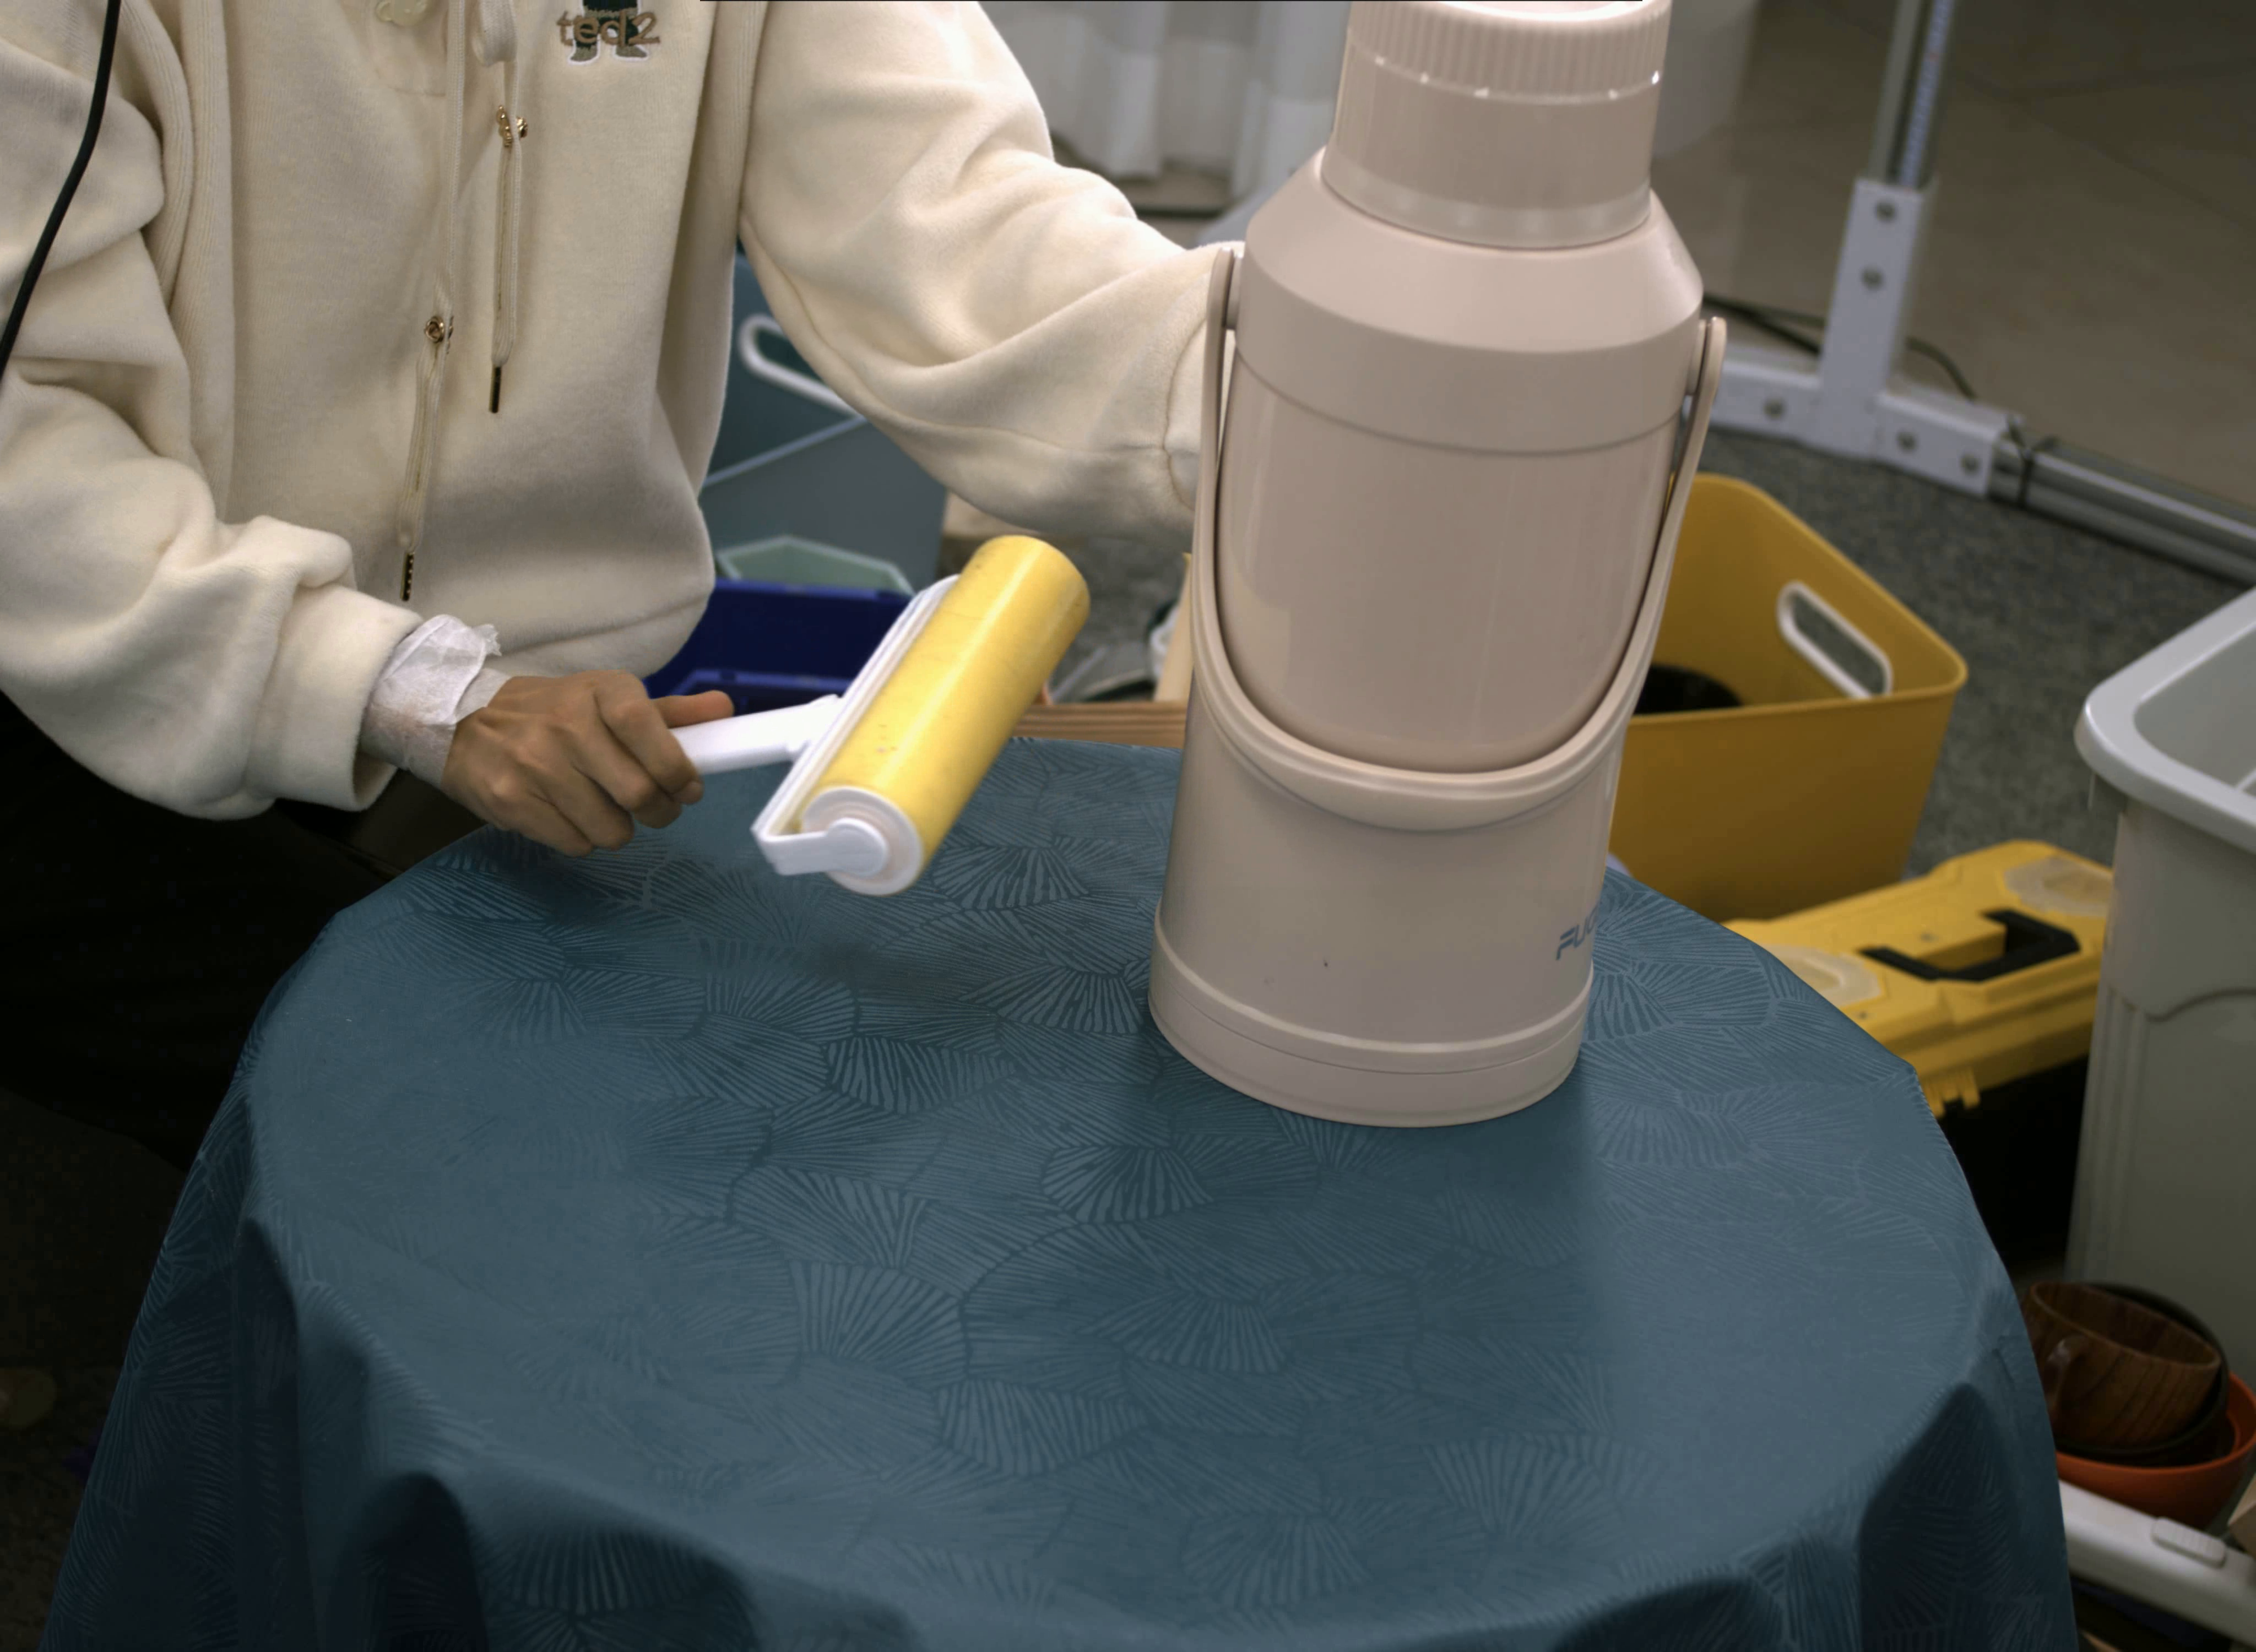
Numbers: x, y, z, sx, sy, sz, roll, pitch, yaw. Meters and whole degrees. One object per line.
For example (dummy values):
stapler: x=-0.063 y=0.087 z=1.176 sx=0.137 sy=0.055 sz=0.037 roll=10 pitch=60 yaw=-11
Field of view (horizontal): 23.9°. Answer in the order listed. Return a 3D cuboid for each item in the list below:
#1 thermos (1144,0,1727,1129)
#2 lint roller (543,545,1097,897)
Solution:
thermos: x=0.109 y=-0.111 z=1.851 sx=0.175 sy=0.405 sz=0.208 roll=8 pitch=26 yaw=4
lint roller: x=-0.126 y=-0.040 z=1.894 sx=0.192 sy=0.051 sz=0.175 roll=3 pitch=35 yaw=21
